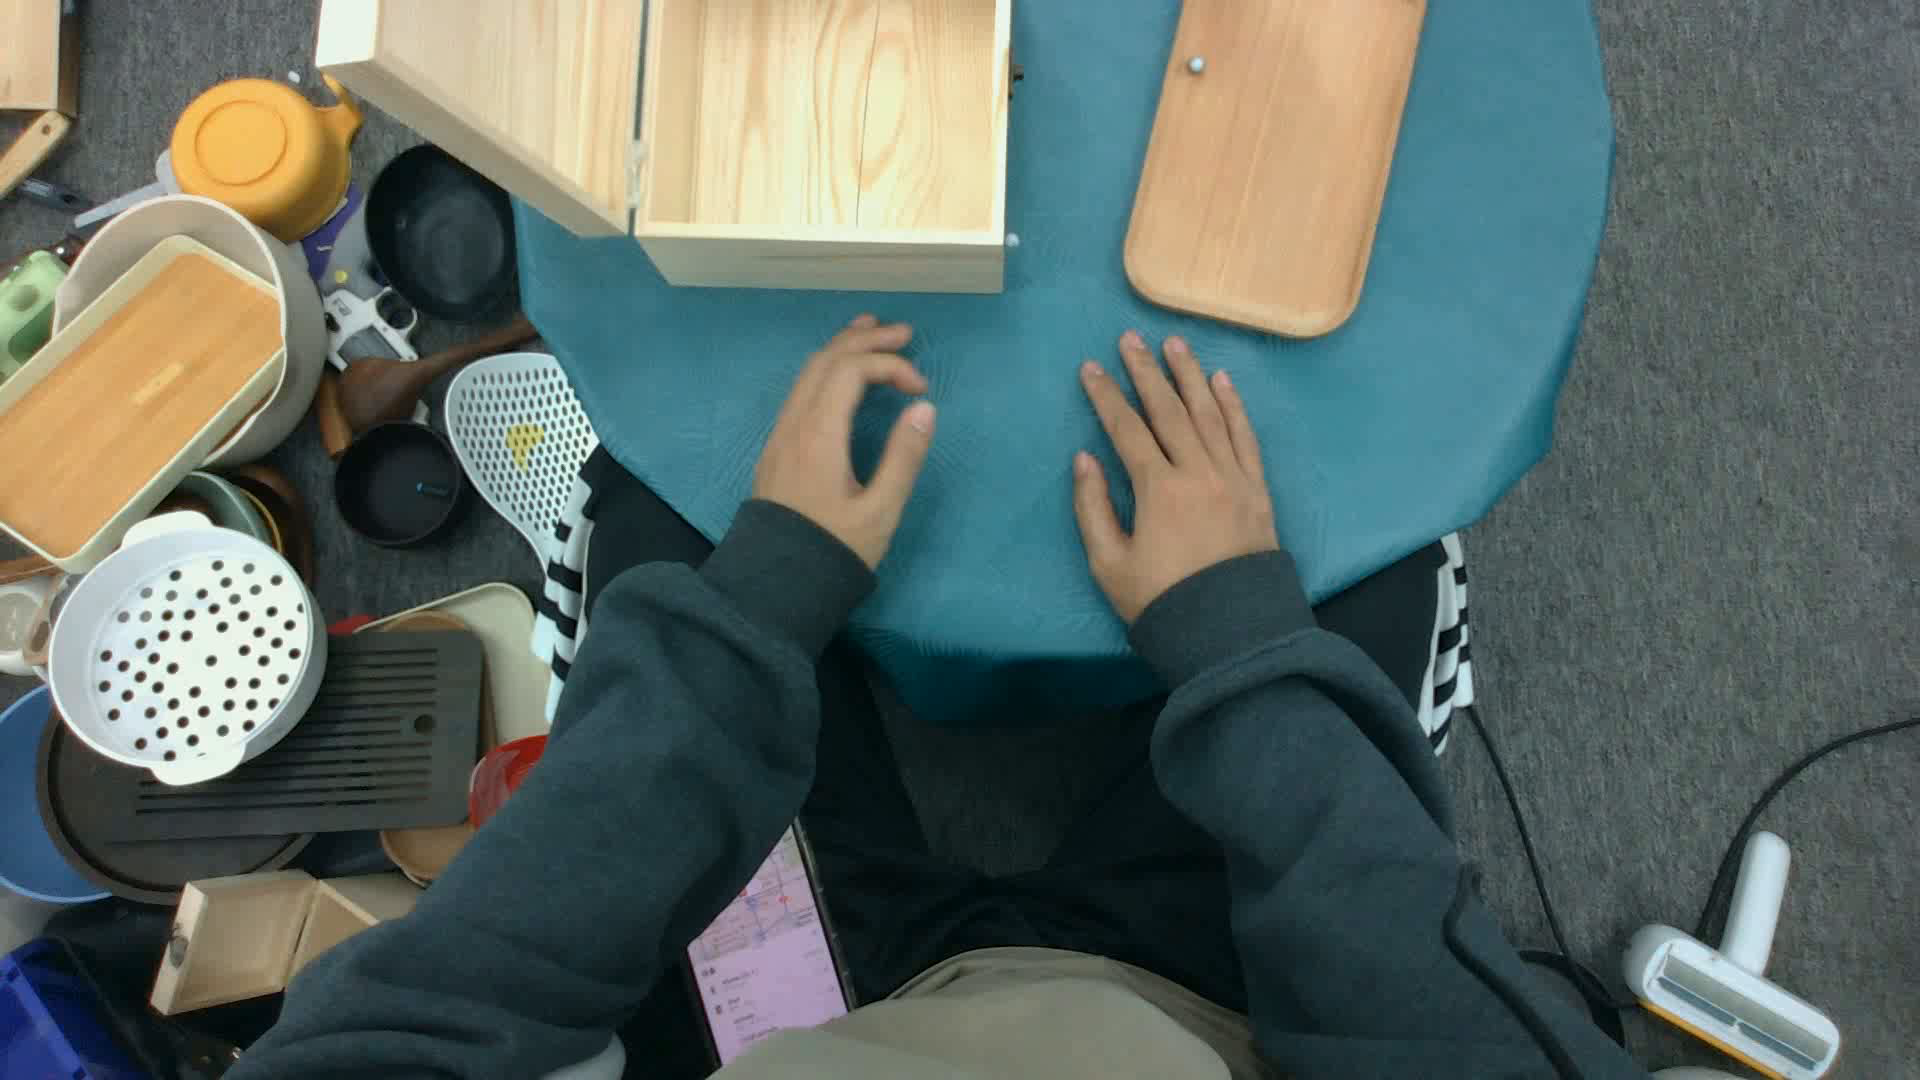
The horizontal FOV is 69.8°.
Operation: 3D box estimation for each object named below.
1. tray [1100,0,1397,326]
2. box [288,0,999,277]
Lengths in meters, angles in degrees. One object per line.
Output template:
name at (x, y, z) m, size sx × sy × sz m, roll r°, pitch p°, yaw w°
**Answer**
tray at (0.160, -0.242, 0.747) m, size 0.130 × 0.023 × 0.251 m, roll 13°, pitch 82°, yaw 5°
box at (-0.114, -0.244, 0.635) m, size 0.265 × 0.253 × 0.182 m, roll 0°, pitch 85°, yaw 1°
